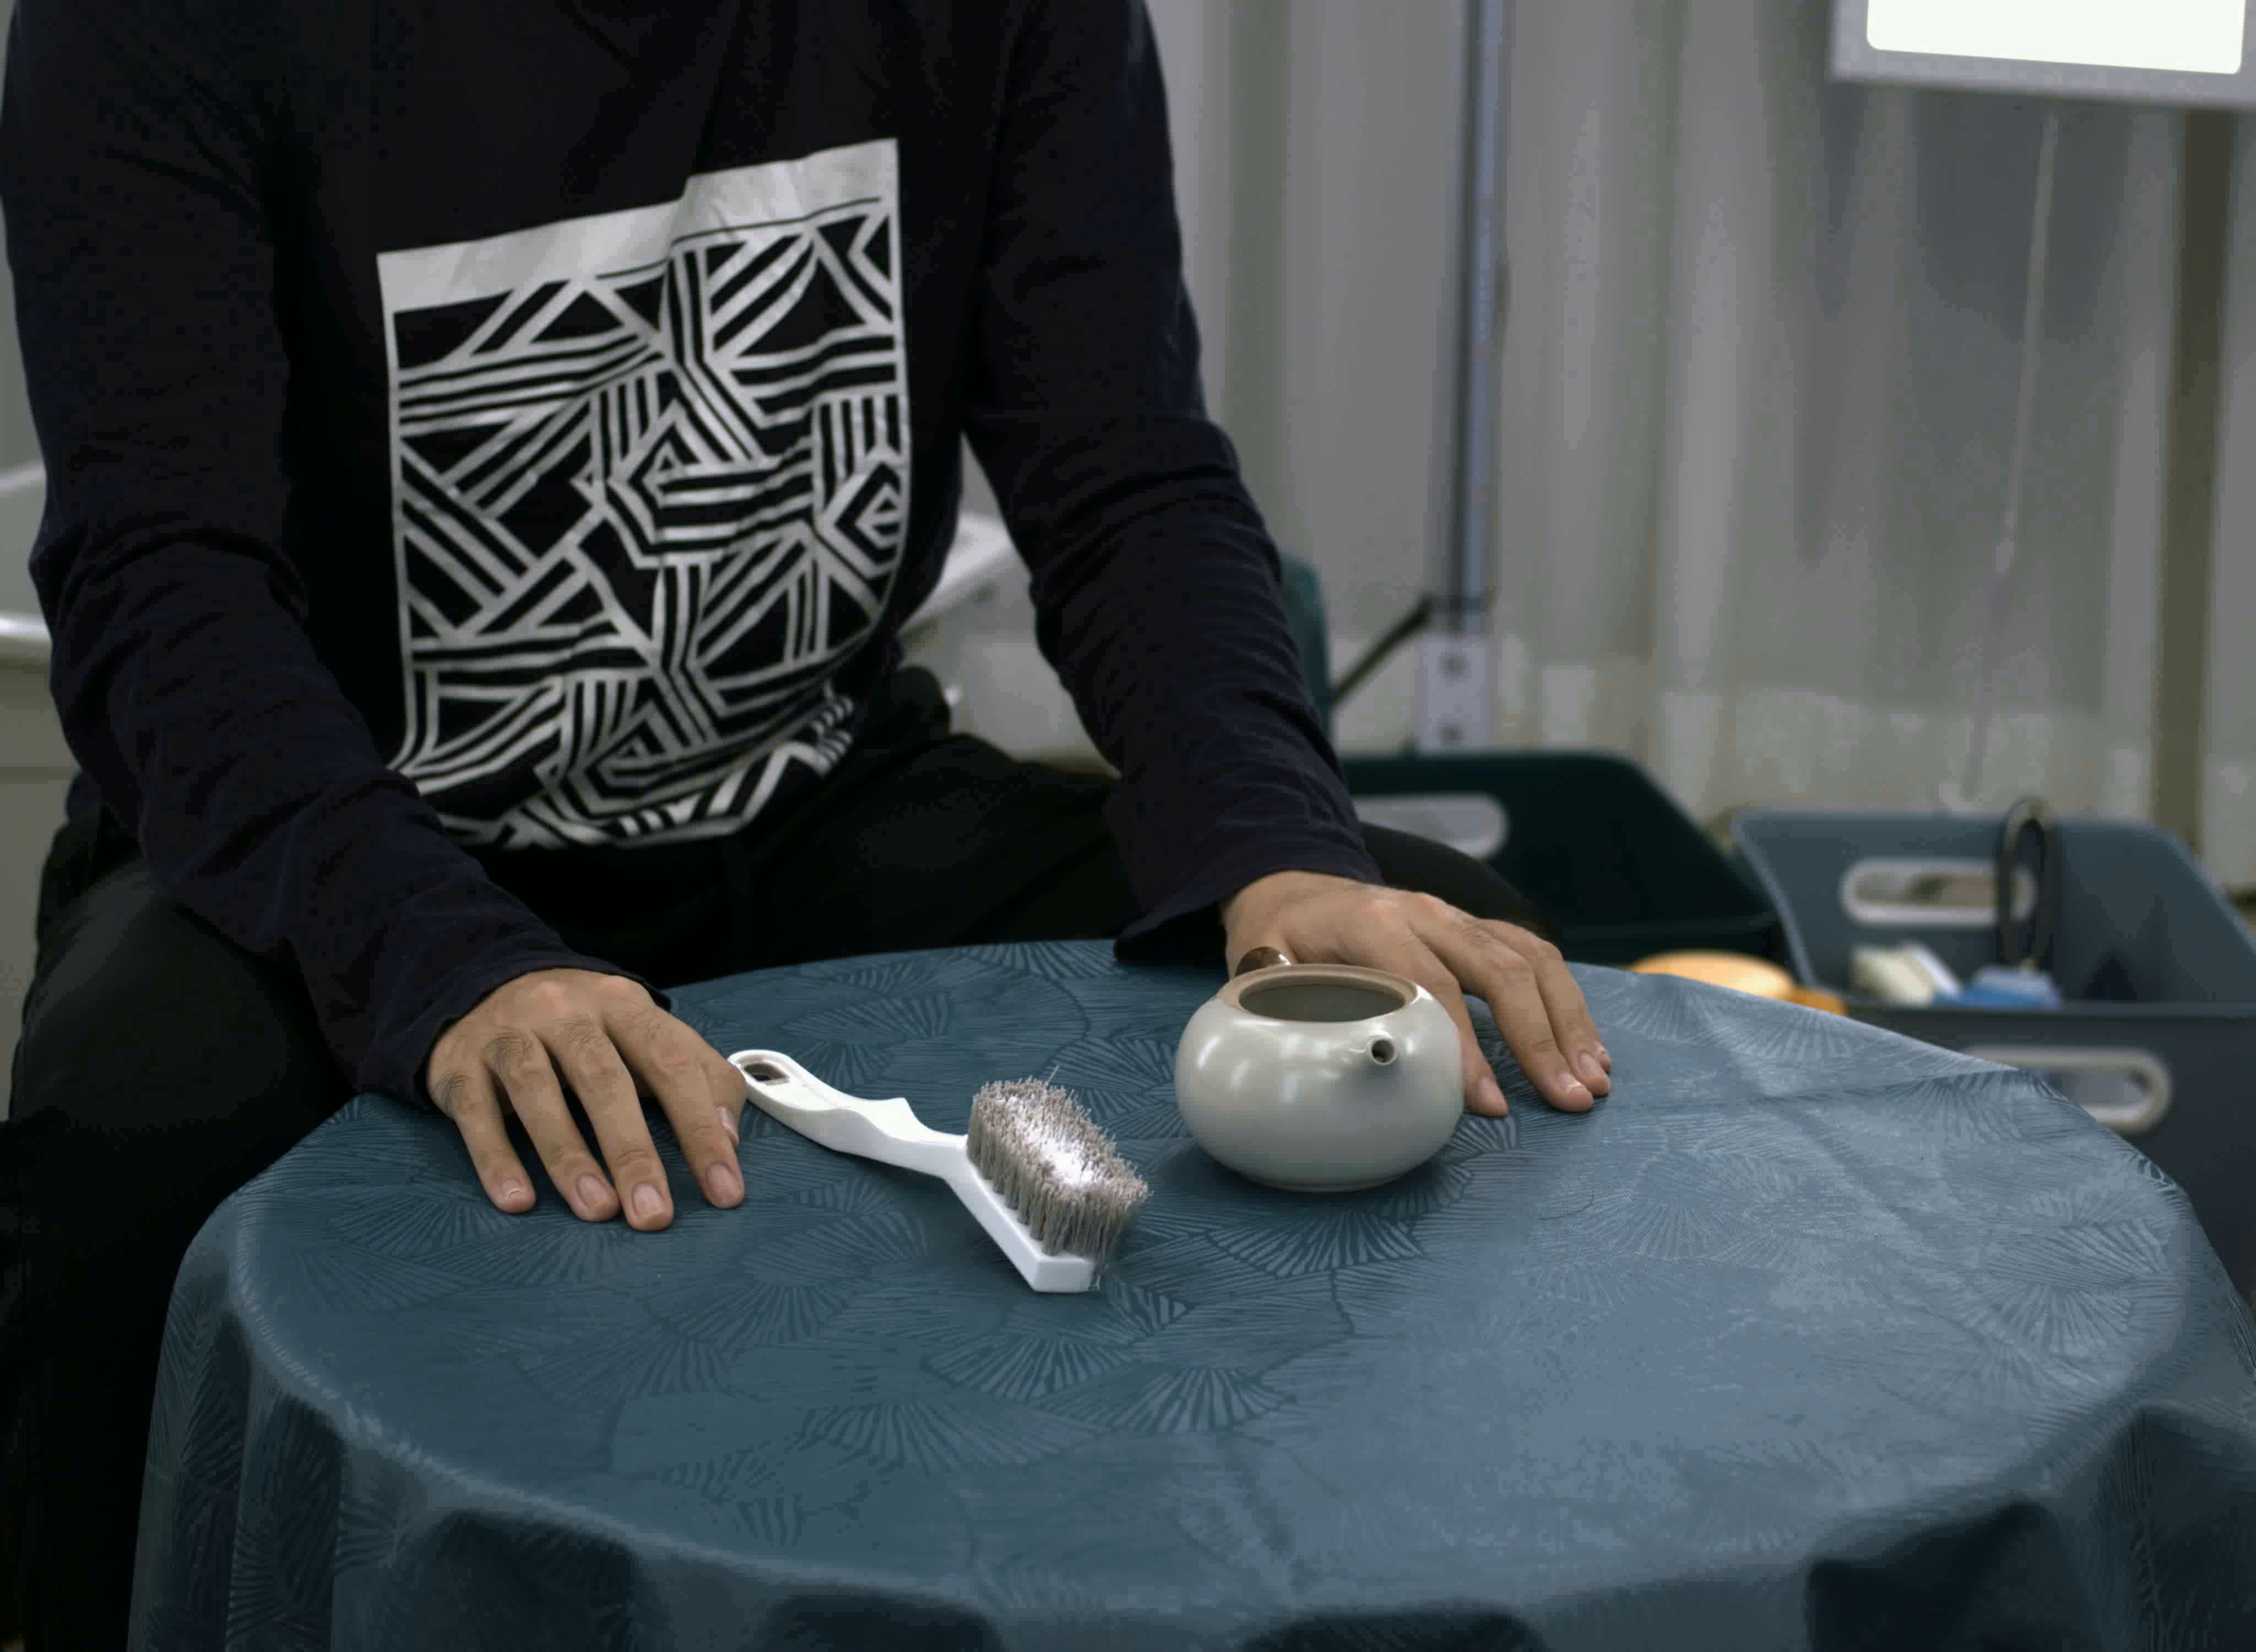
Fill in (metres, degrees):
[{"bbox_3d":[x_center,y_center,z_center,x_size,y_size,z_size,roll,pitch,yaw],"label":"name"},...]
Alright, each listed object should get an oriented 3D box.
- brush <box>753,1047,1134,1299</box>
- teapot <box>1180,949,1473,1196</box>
[{"bbox_3d":[-0.063,0.087,1.626,0.034,0.050,0.240,-12,20,-24],"label":"brush"},{"bbox_3d":[0.058,0.077,1.652,0.092,0.060,0.126,-8,18,-21],"label":"teapot"}]
